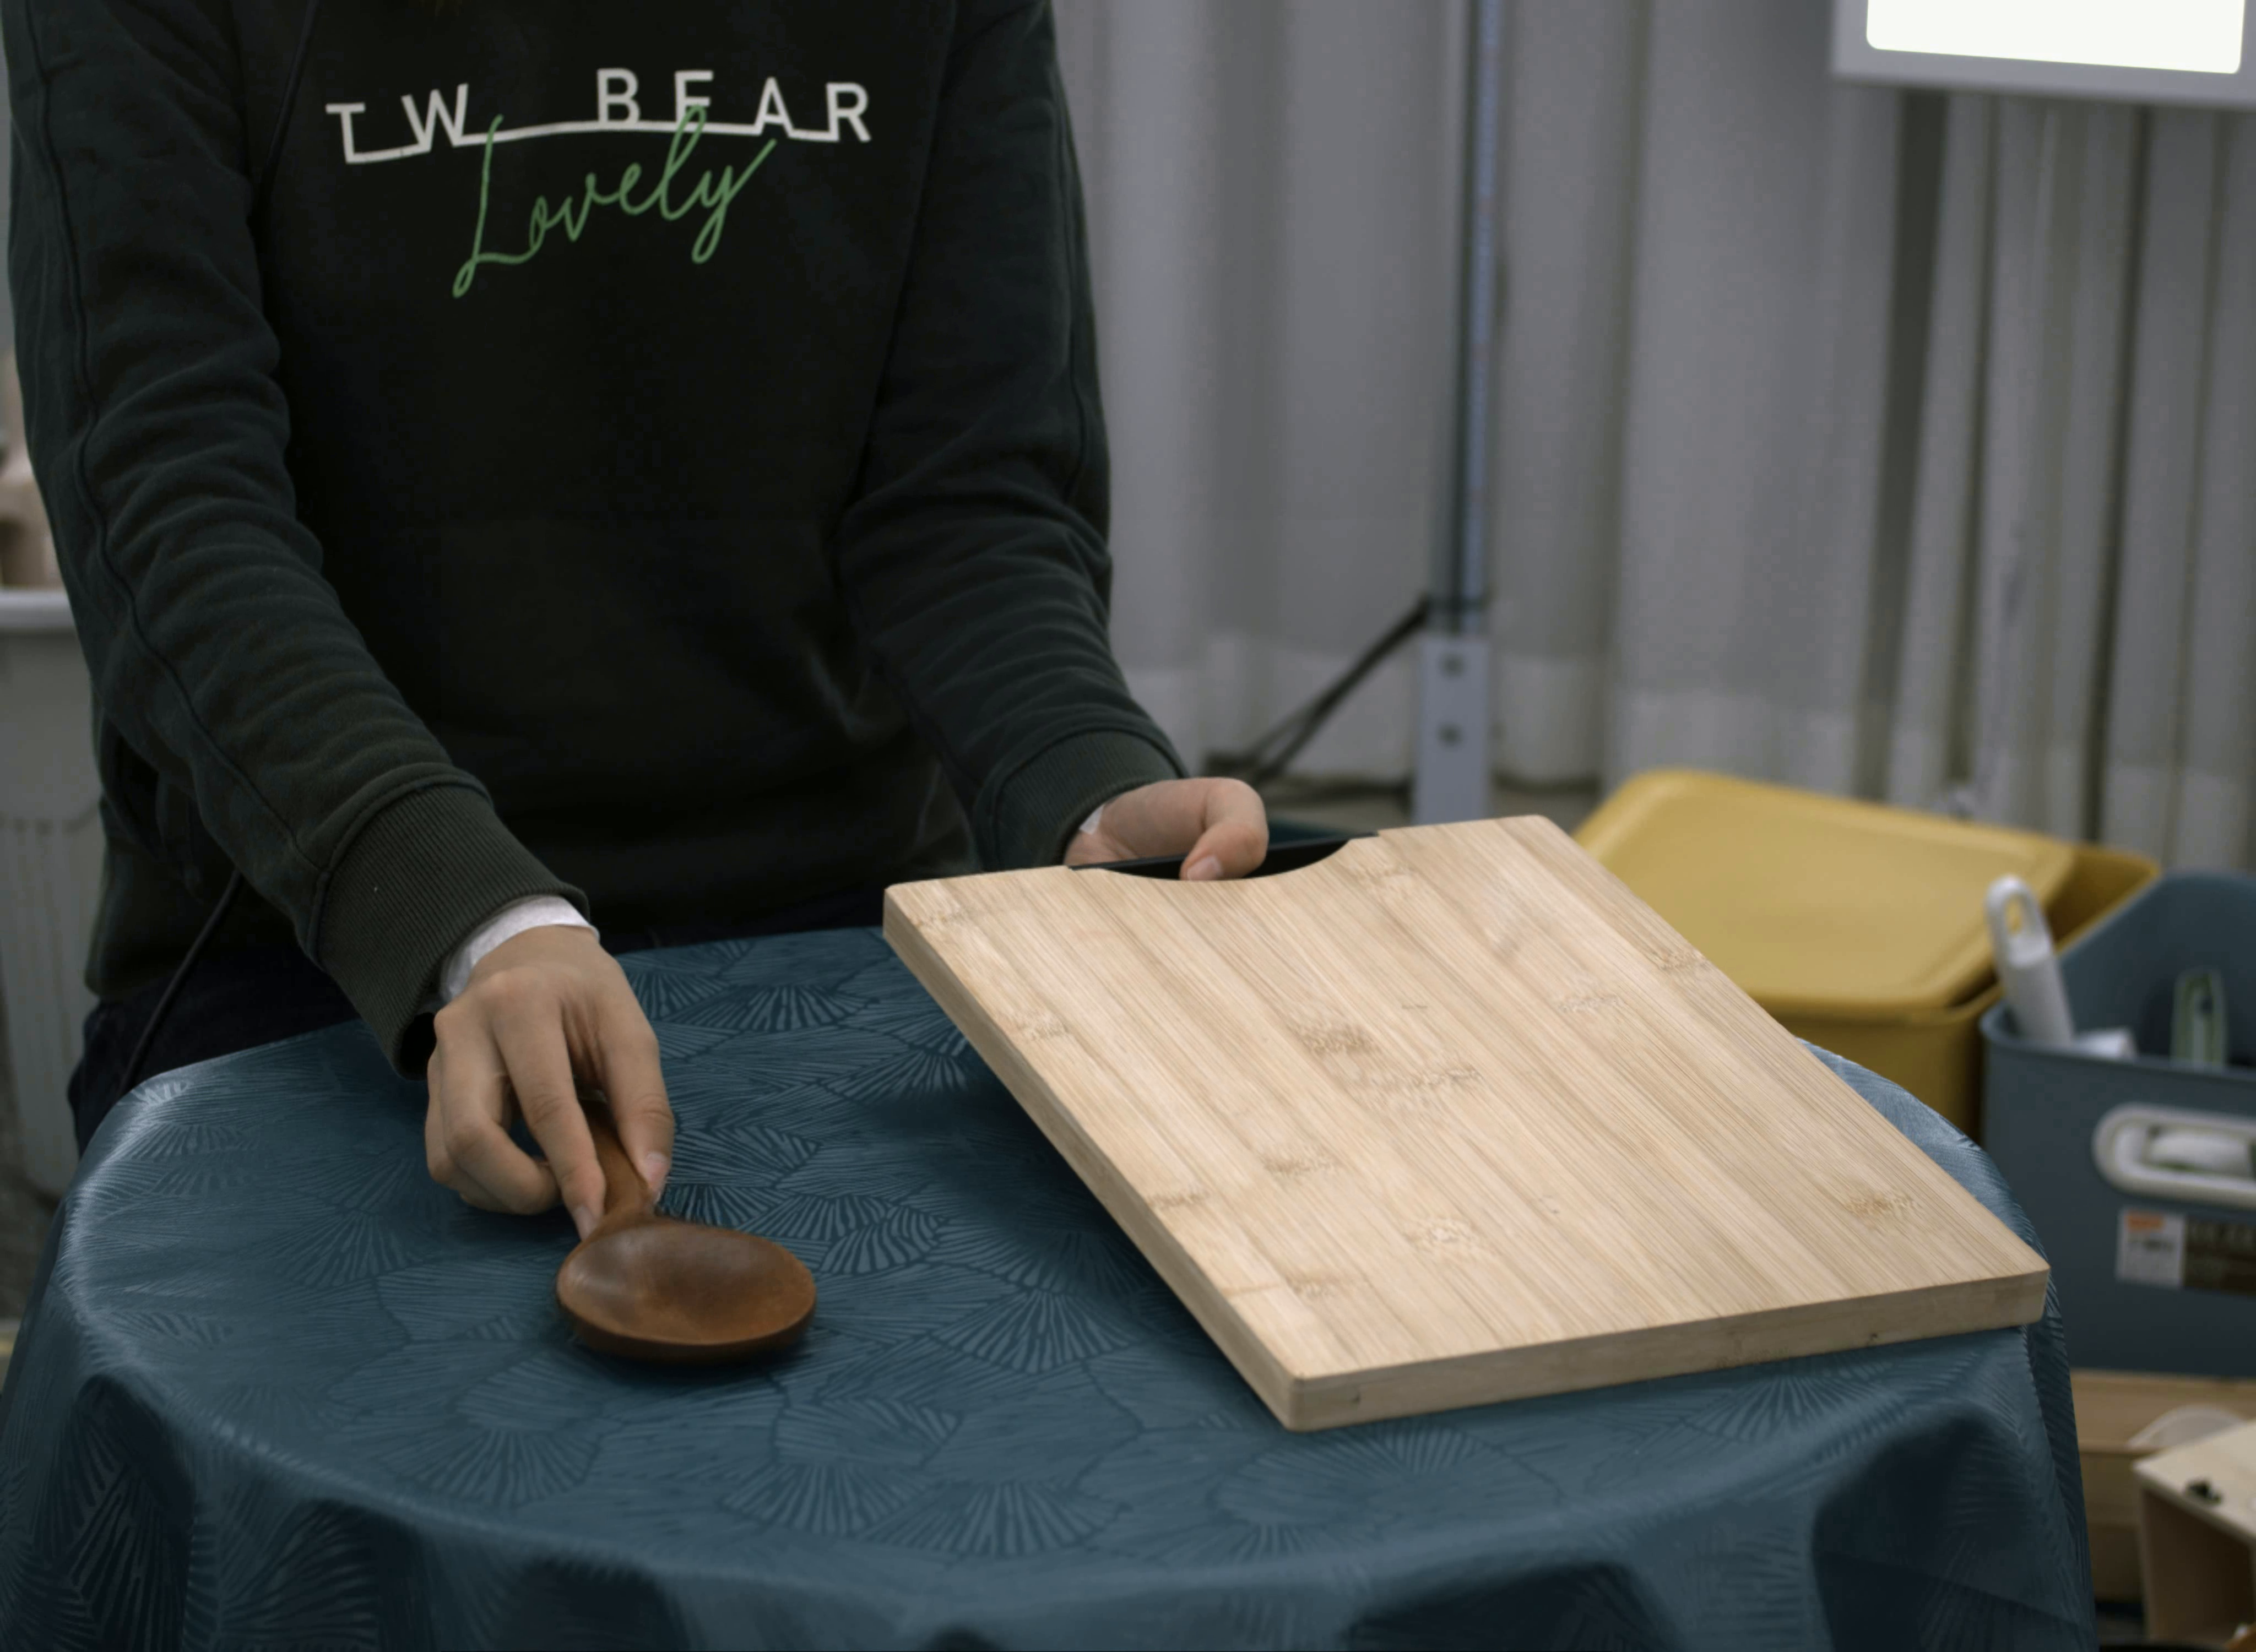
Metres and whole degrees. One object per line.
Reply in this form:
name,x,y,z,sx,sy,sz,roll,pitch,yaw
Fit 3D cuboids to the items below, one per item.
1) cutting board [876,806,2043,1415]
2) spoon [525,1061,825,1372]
cutting board,0.091,0.079,1.624,0.251,0.024,0.344,-6,26,-23
spoon,-0.145,0.116,1.558,0.075,0.017,0.213,-6,22,-17
